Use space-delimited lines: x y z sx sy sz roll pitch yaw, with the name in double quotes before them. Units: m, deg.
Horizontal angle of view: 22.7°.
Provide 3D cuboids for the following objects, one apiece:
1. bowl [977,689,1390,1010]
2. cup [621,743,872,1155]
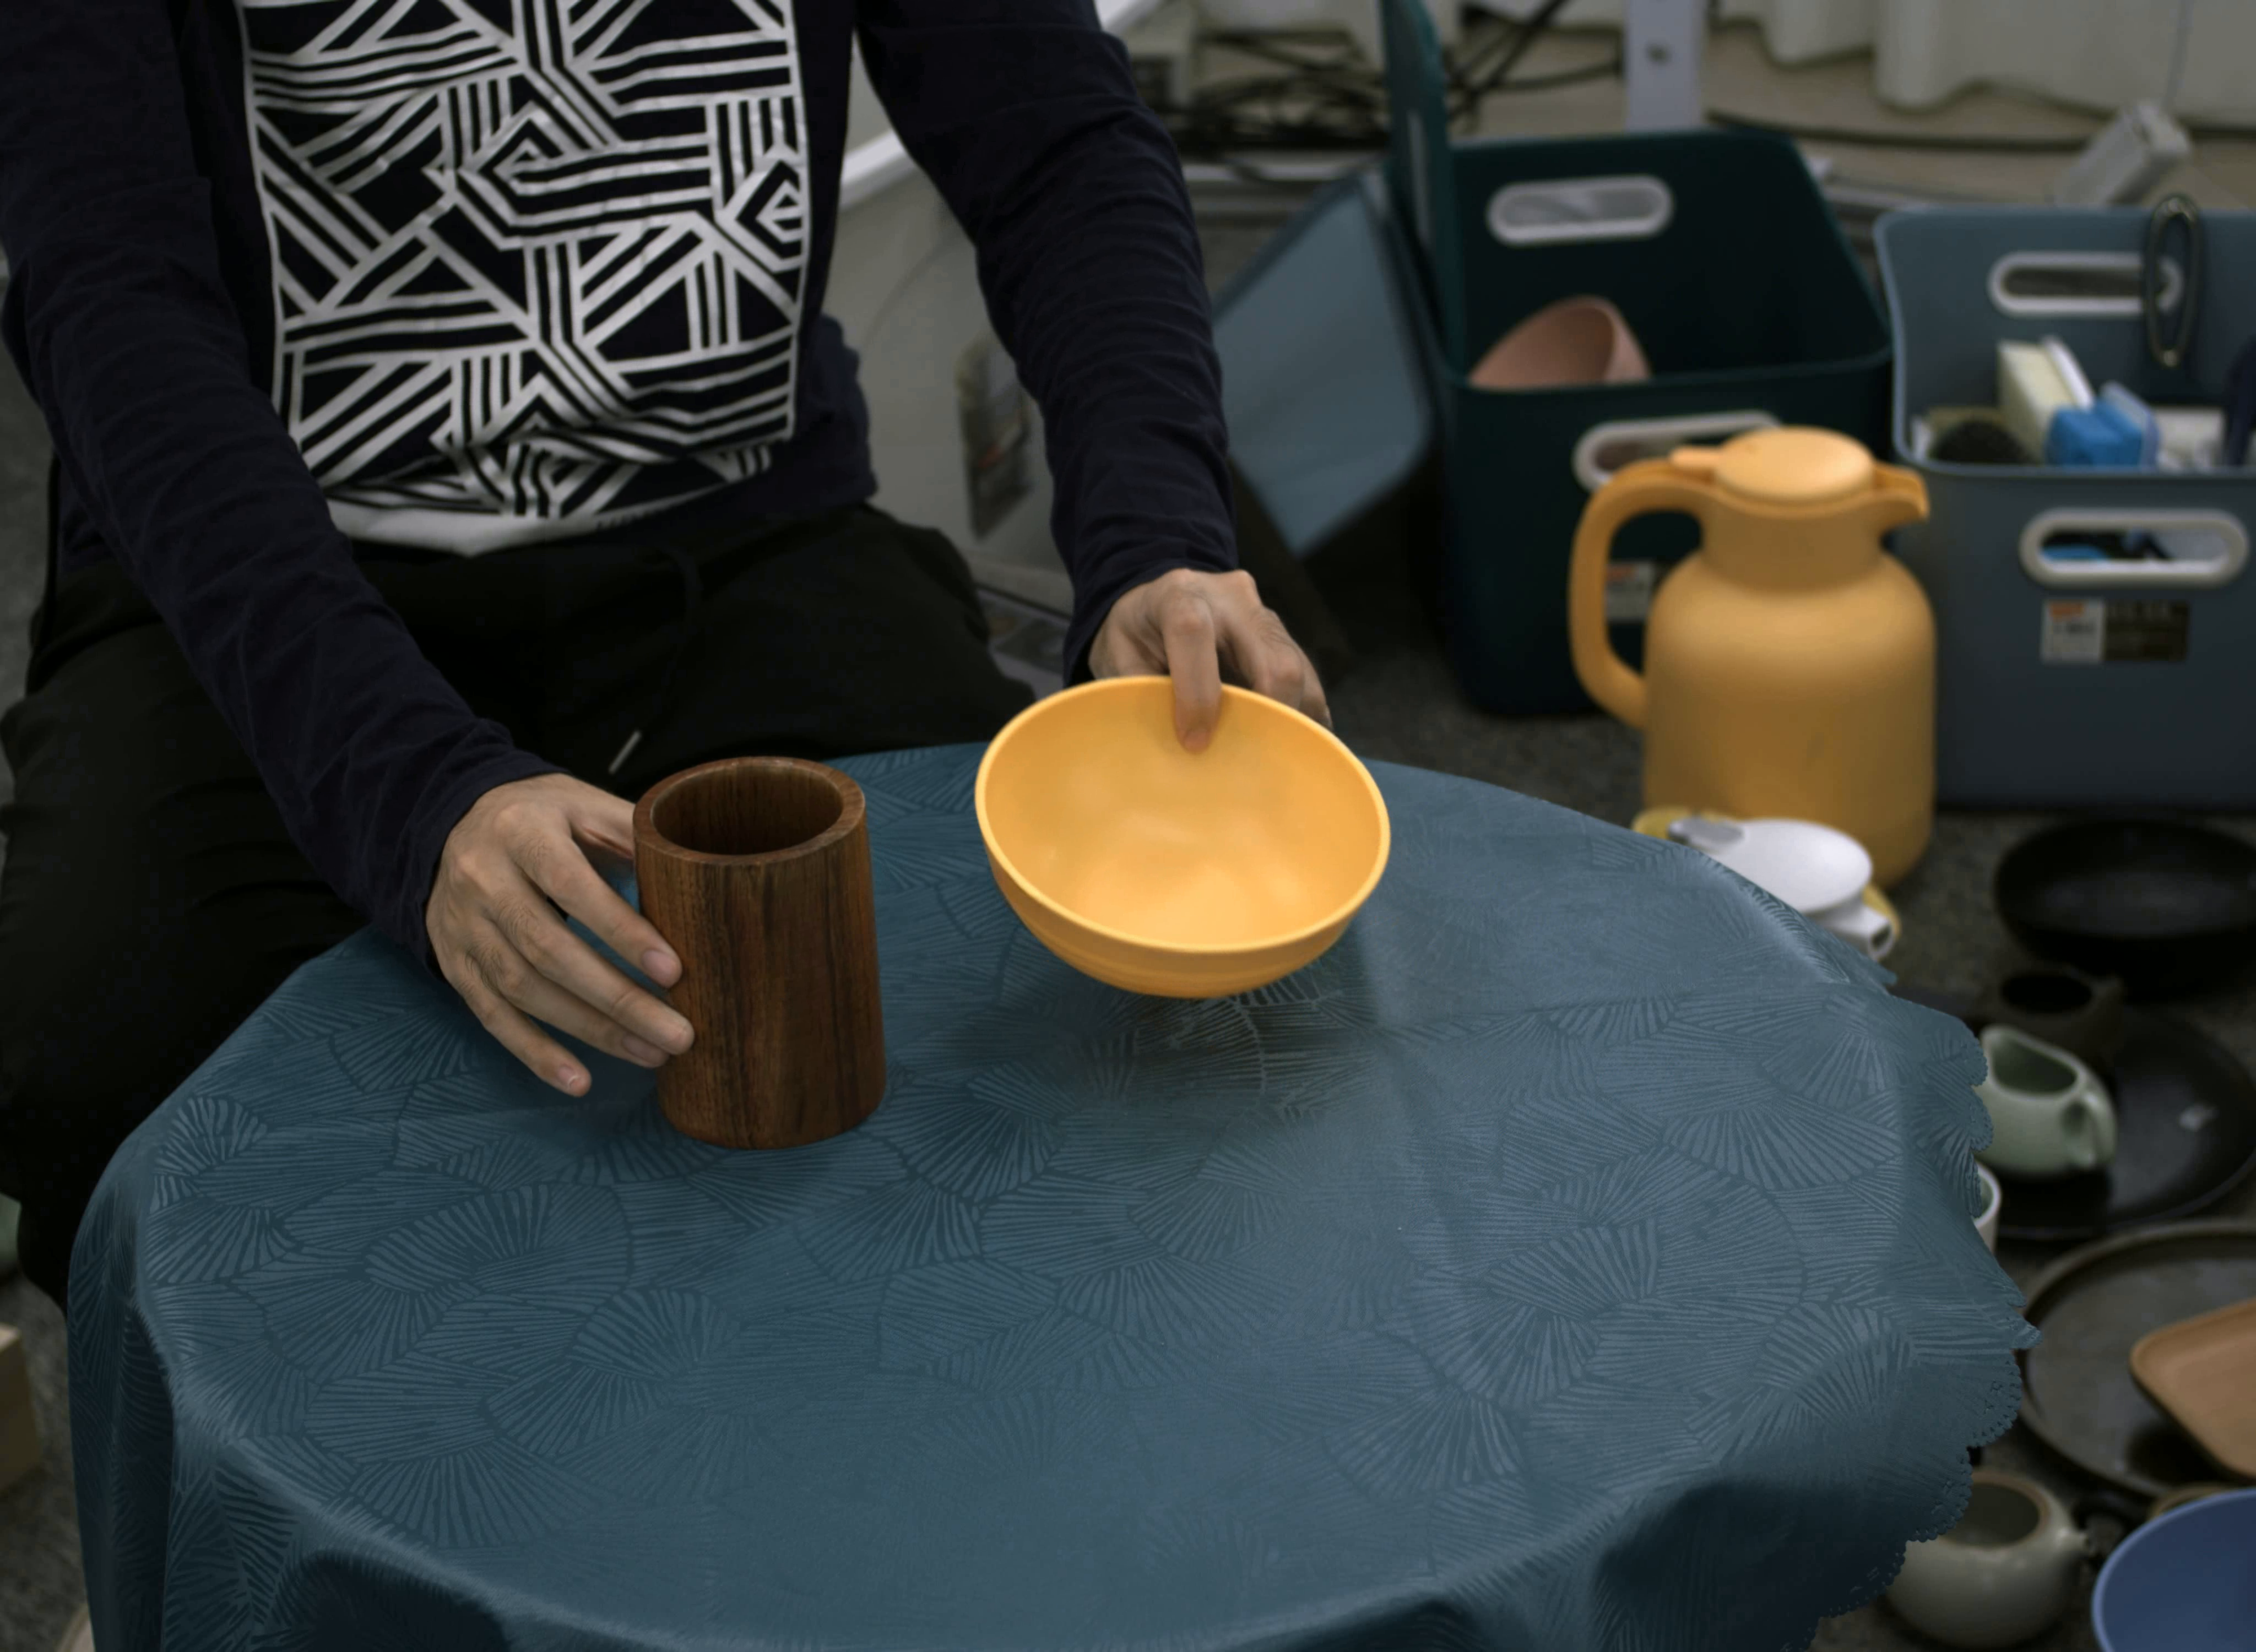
"bowl" 0.016 0.020 1.951 0.145 0.059 0.148 6 39 -4
"cup" -0.129 0.041 1.902 0.087 0.117 0.089 1 25 0
